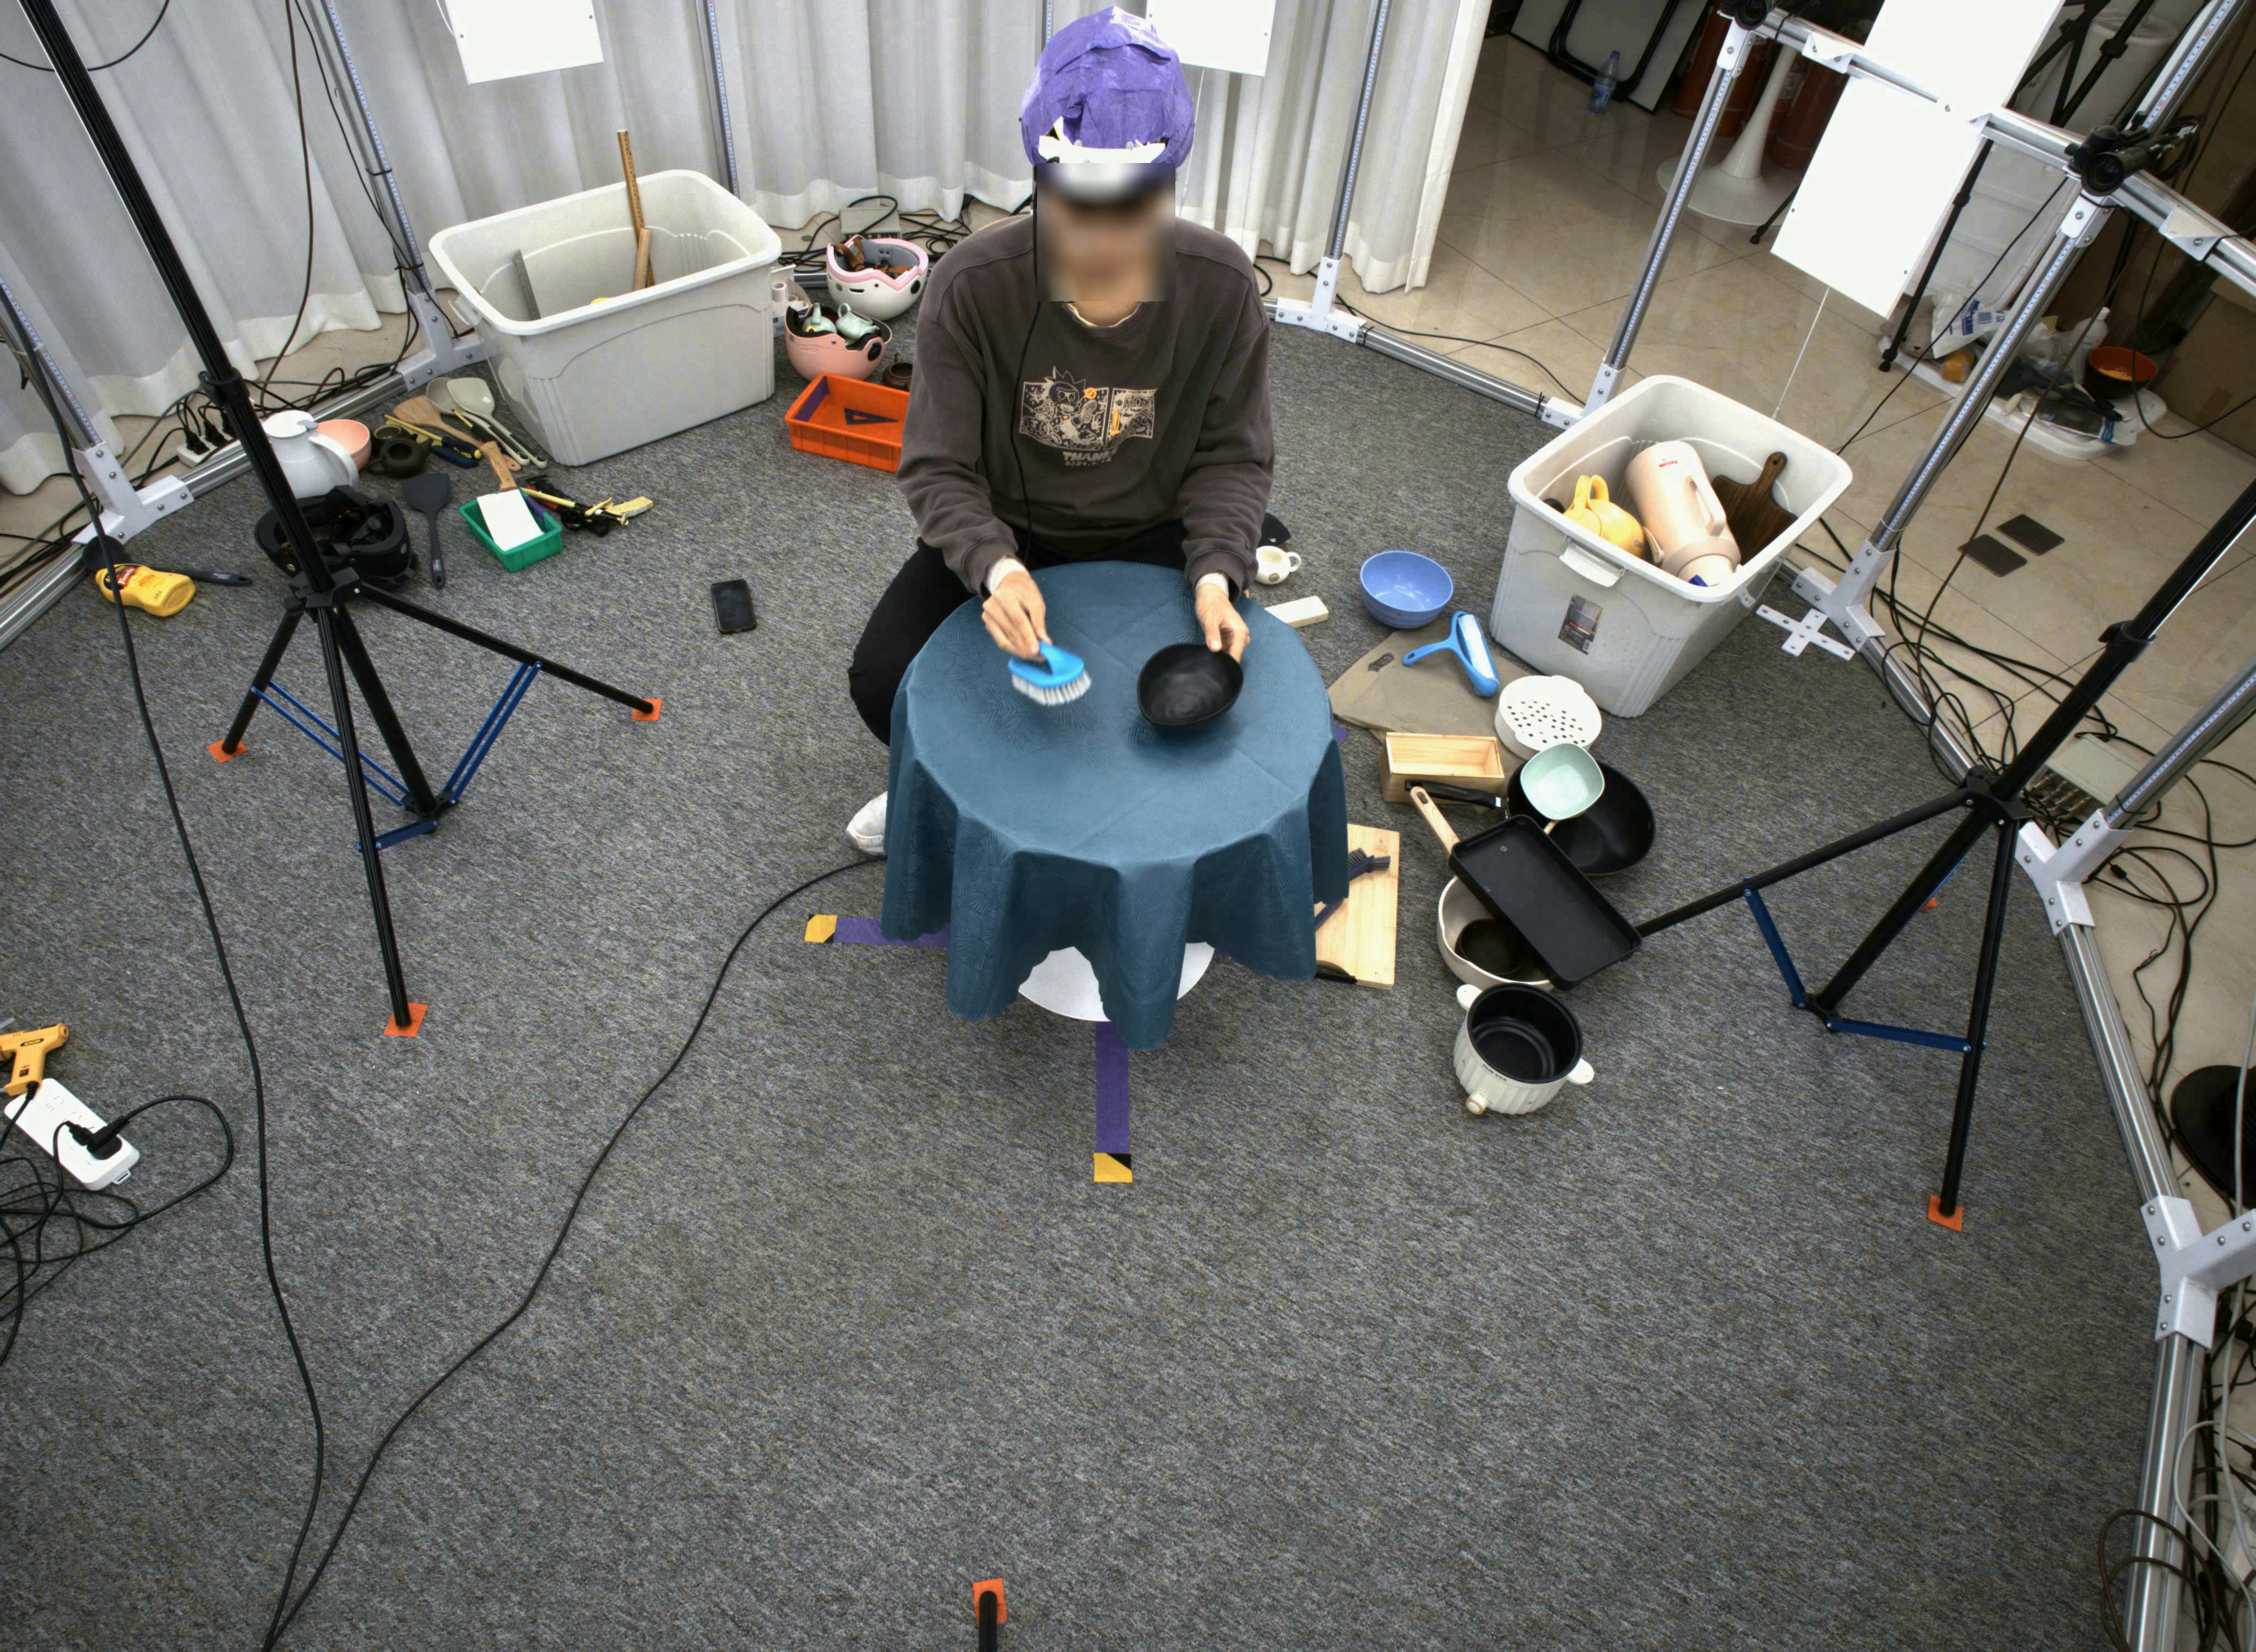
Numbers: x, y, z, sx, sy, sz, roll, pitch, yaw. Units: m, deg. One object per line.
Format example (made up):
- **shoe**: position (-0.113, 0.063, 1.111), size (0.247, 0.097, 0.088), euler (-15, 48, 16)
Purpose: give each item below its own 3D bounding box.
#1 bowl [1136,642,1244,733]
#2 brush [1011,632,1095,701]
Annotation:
- **bowl**: position (0.085, -0.181, 1.788), size (0.139, 0.065, 0.172), euler (29, 55, 21)
- **brush**: position (-0.108, -0.223, 1.719), size (0.085, 0.062, 0.144), euler (-32, 32, -15)
